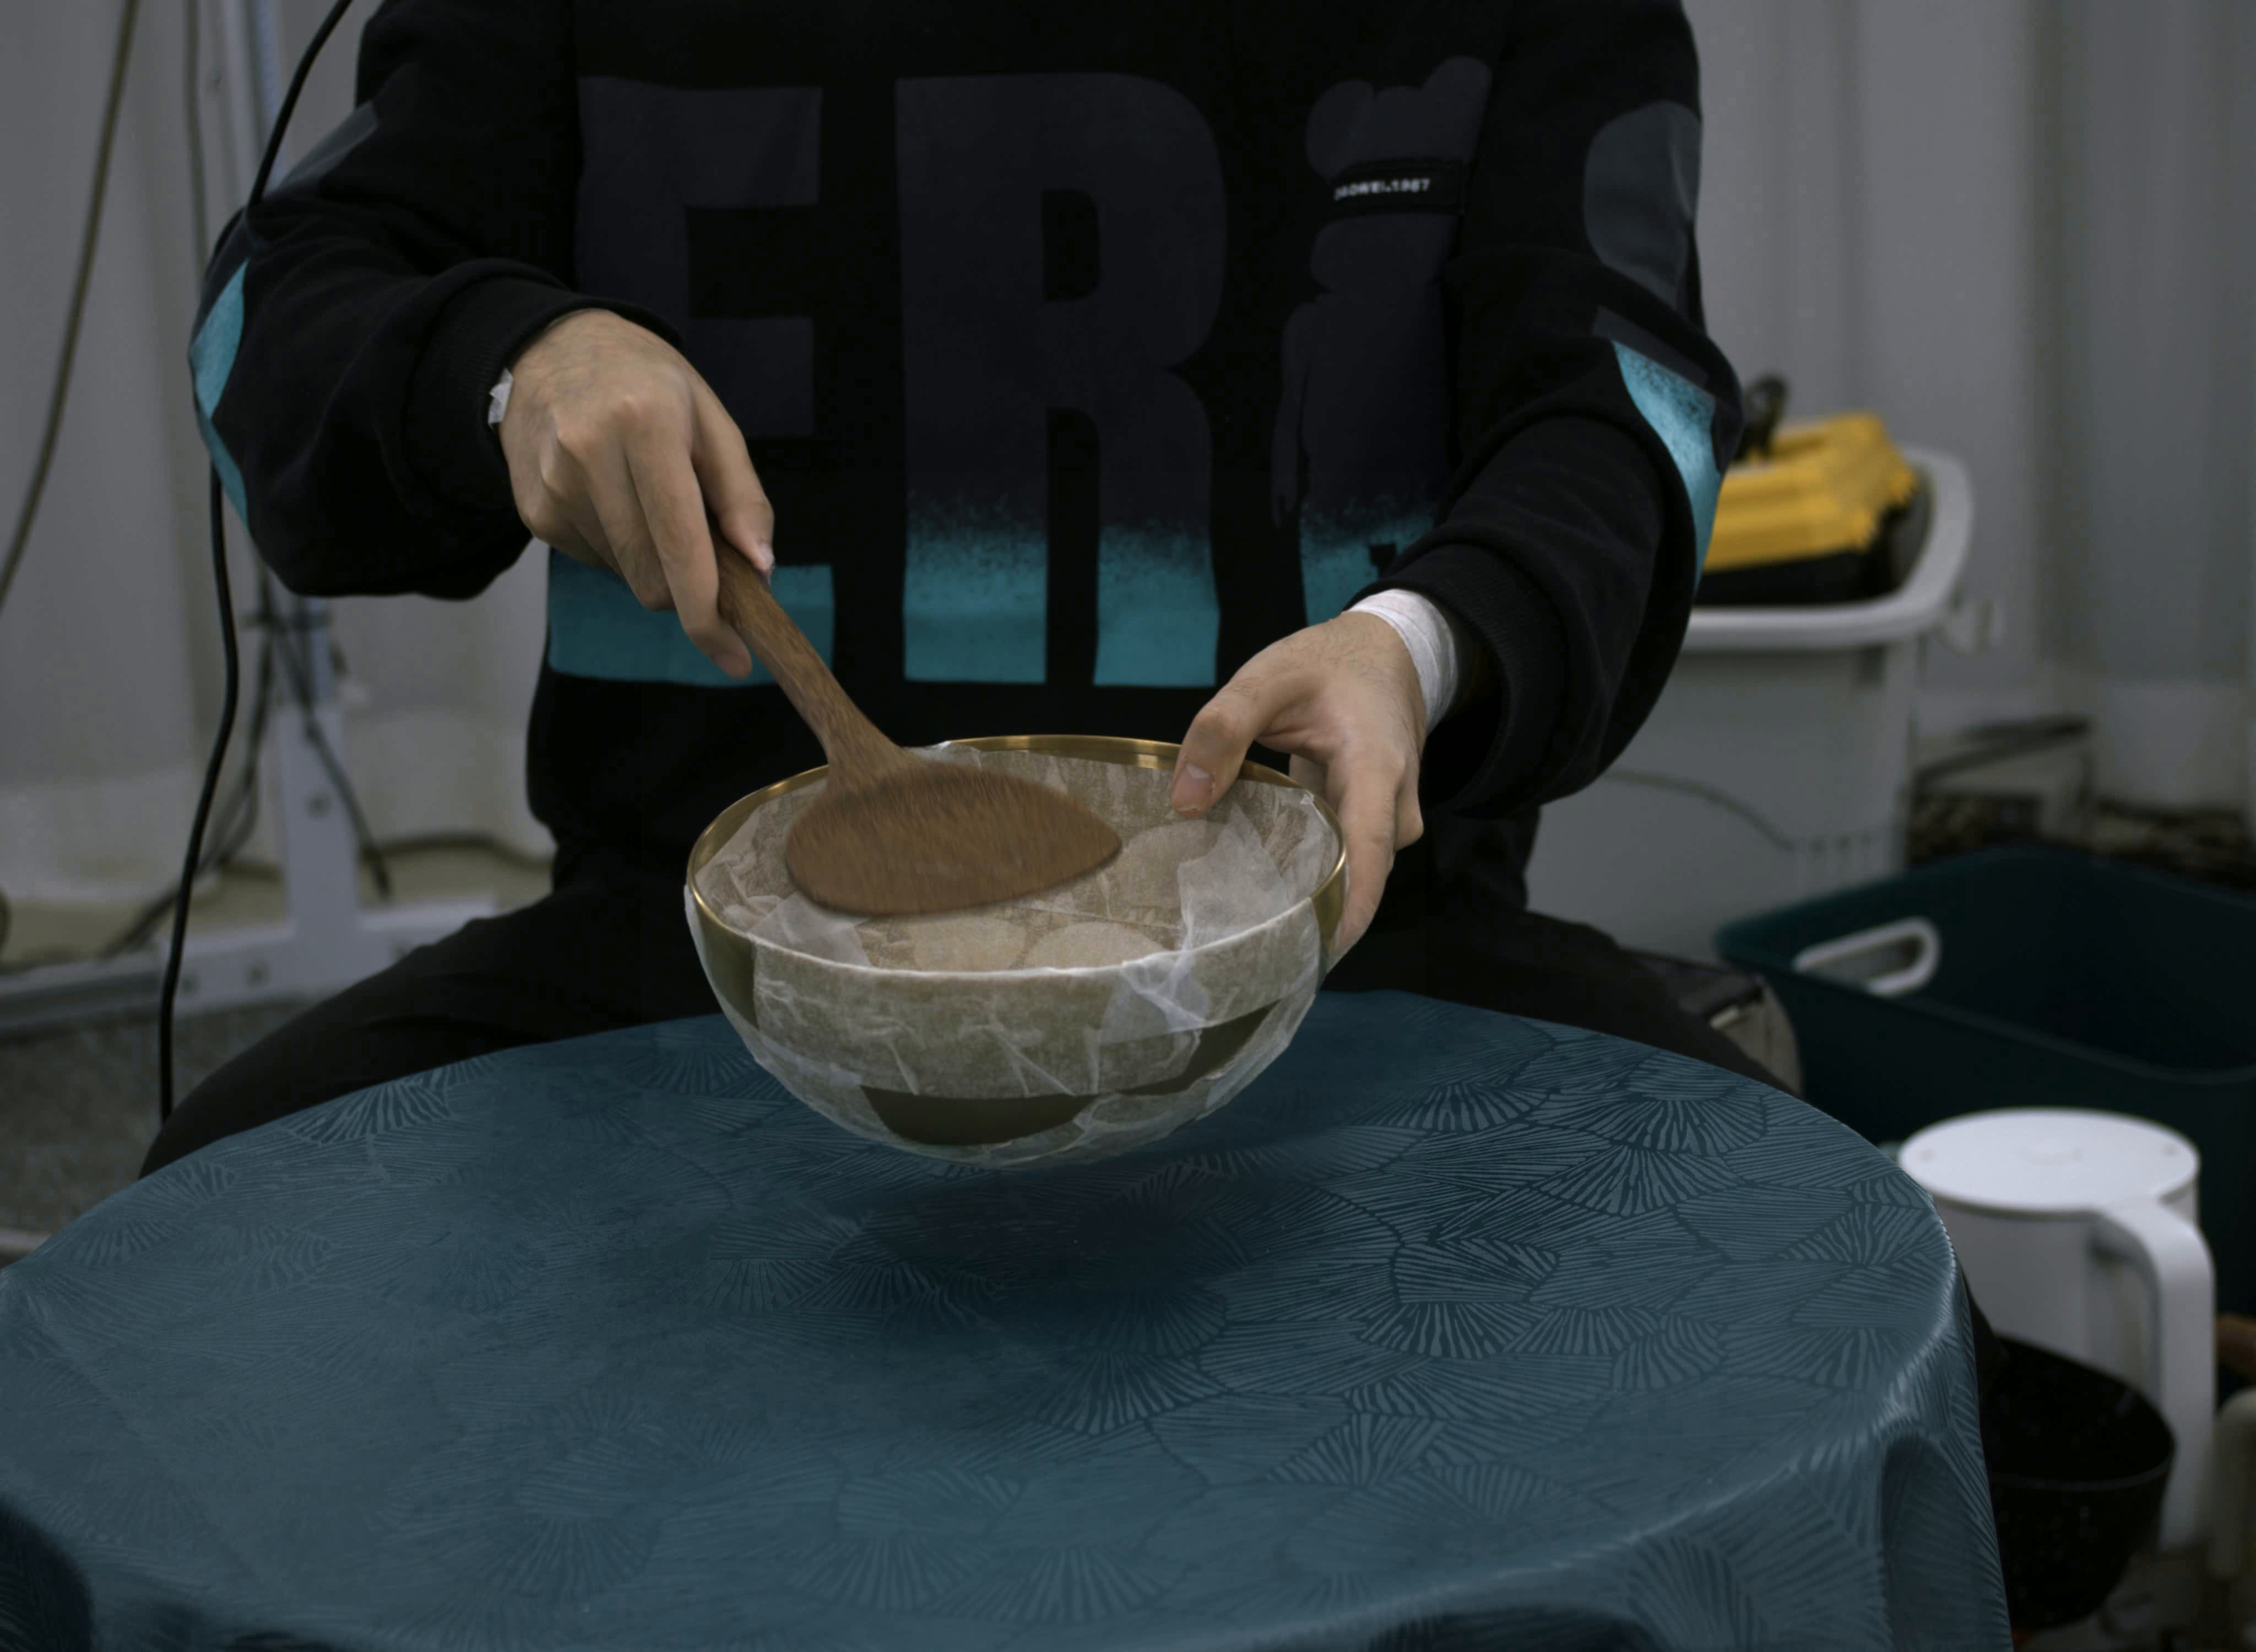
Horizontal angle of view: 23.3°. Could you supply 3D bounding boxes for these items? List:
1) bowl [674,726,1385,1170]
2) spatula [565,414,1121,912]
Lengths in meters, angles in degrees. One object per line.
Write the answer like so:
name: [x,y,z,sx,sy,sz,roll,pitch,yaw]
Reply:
bowl: [-0.030,0.047,1.654,0.214,0.094,0.216,-3,19,1]
spatula: [-0.112,-0.060,1.733,0.096,0.015,0.391,-12,30,-19]
